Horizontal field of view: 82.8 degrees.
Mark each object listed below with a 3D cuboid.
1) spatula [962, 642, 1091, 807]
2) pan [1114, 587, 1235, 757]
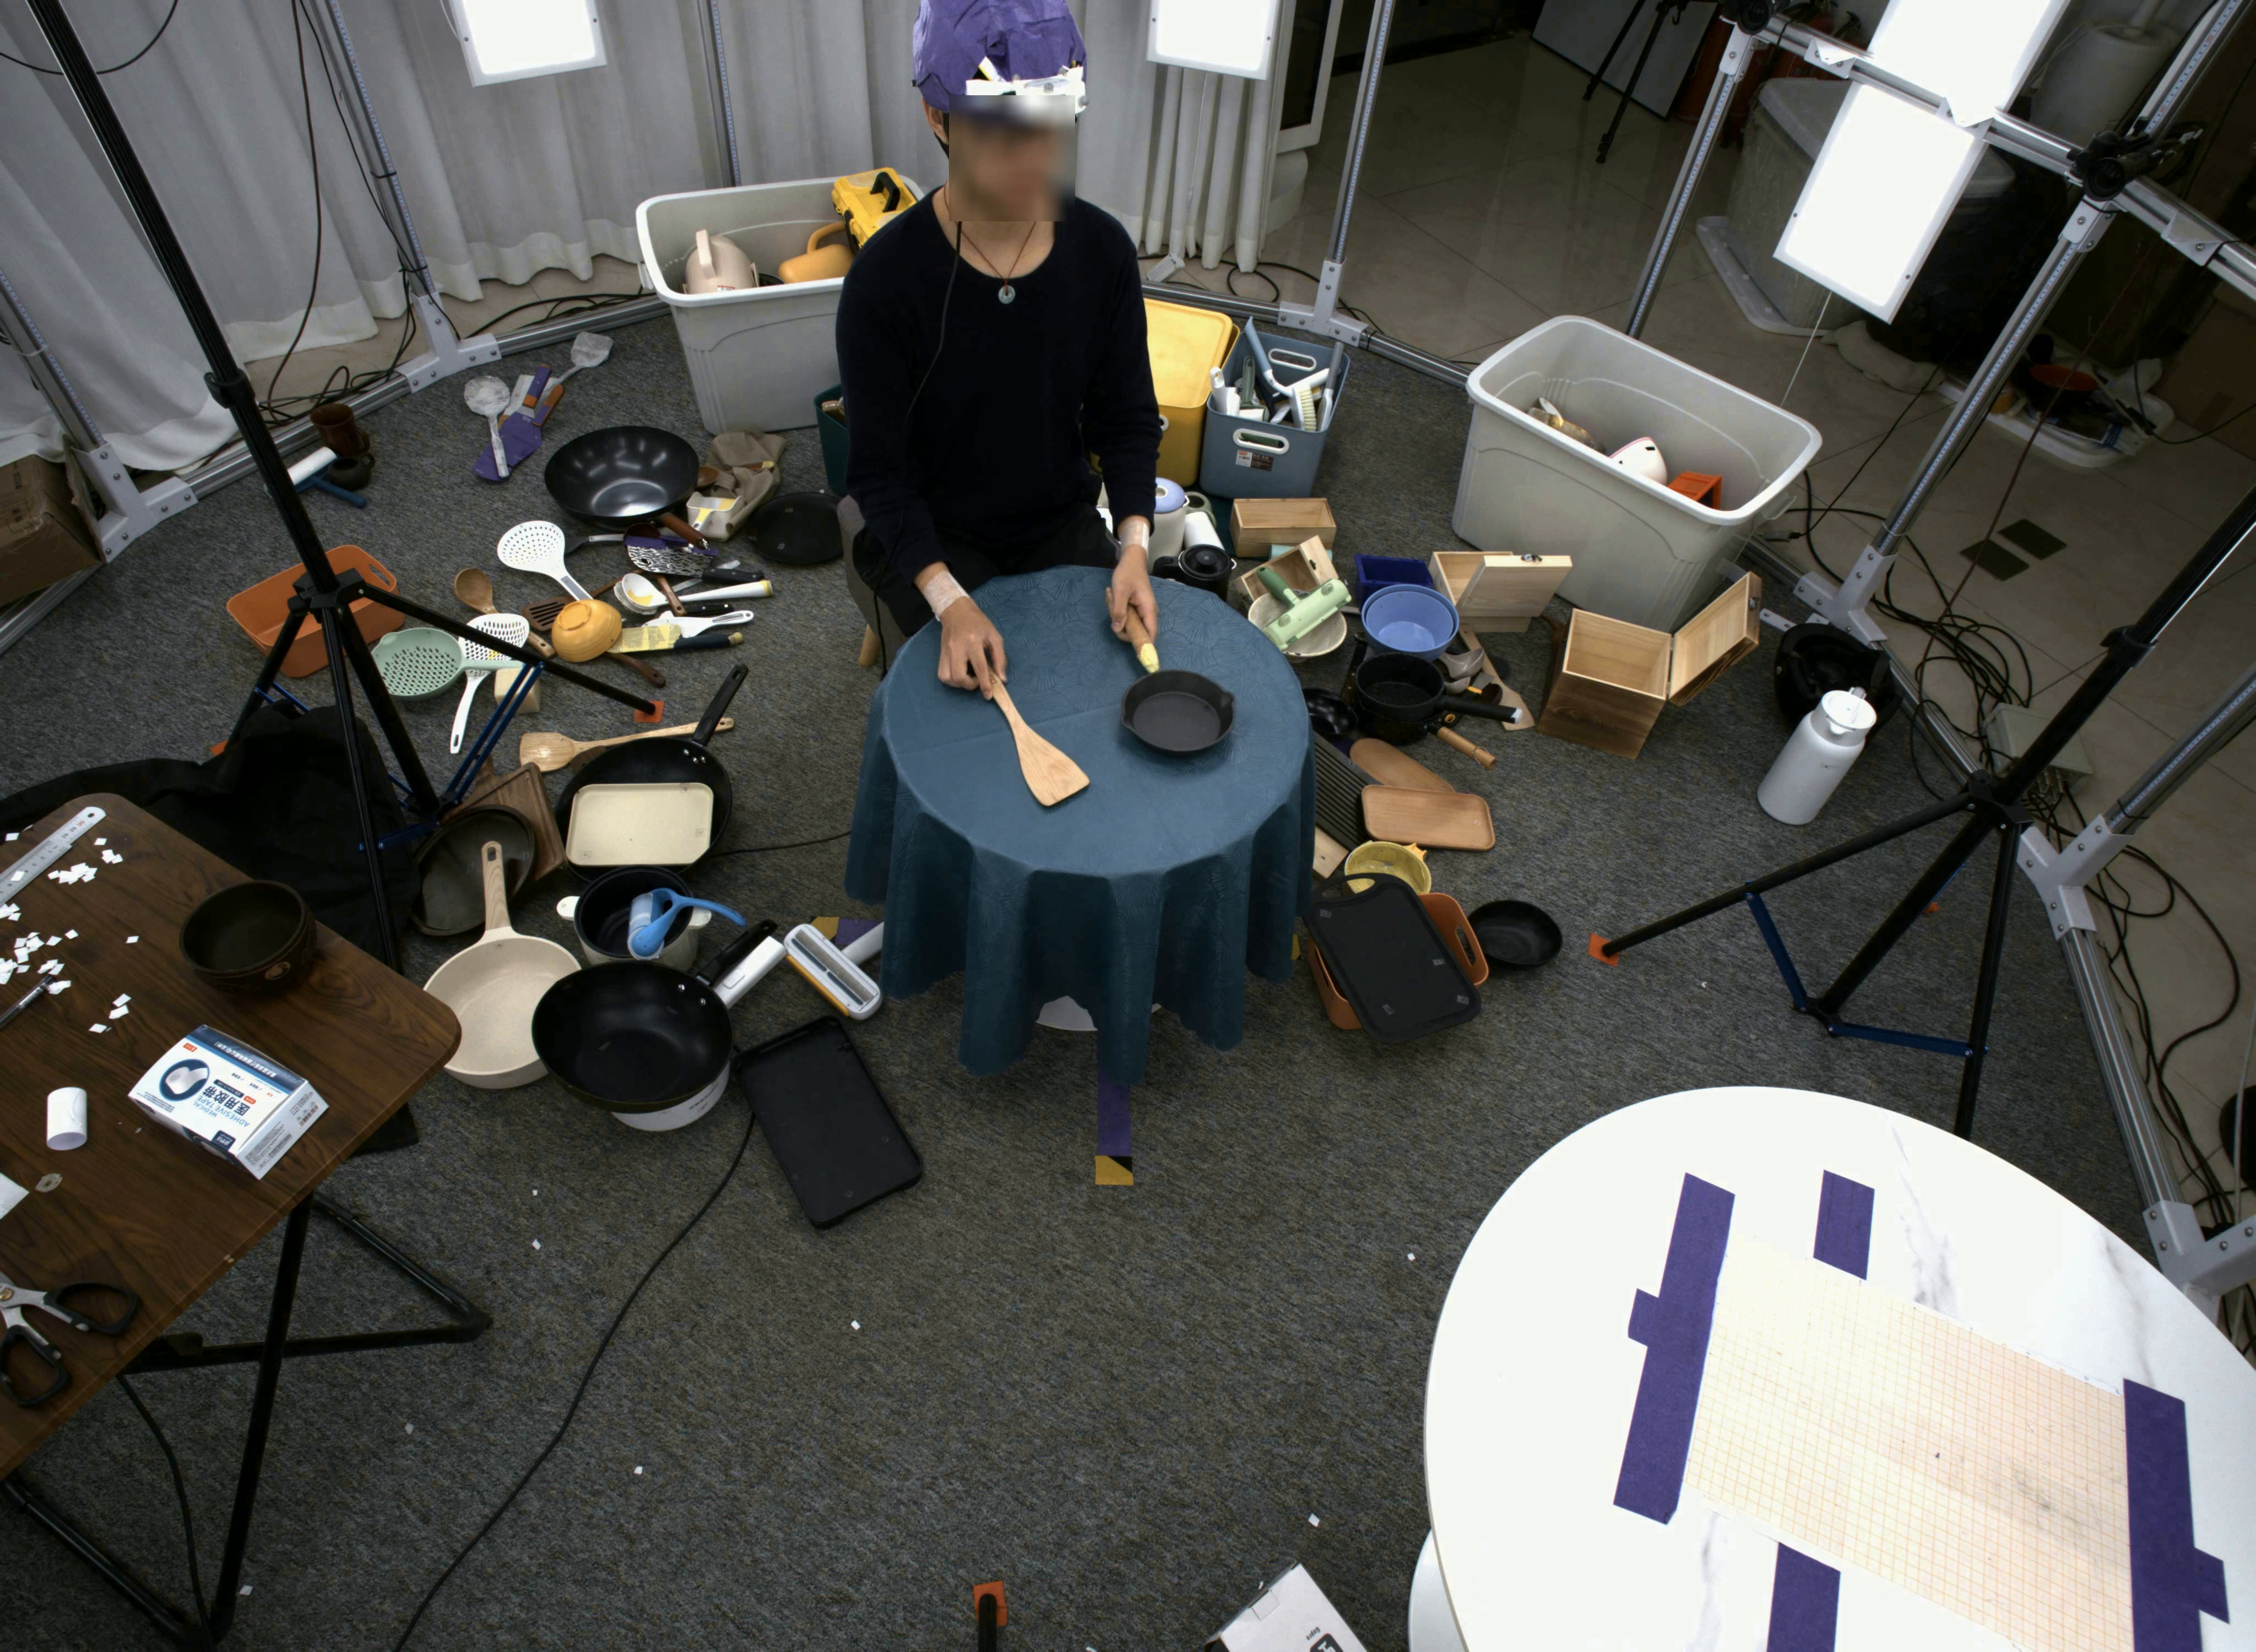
[{"bbox_3d":[-0.153,-0.150,1.775,0.080,0.016,0.334,-20,56,-21],"label":"spatula"},{"bbox_3d":[0.042,-0.221,1.830,0.169,0.048,0.332,-13,52,-14],"label":"pan"}]
